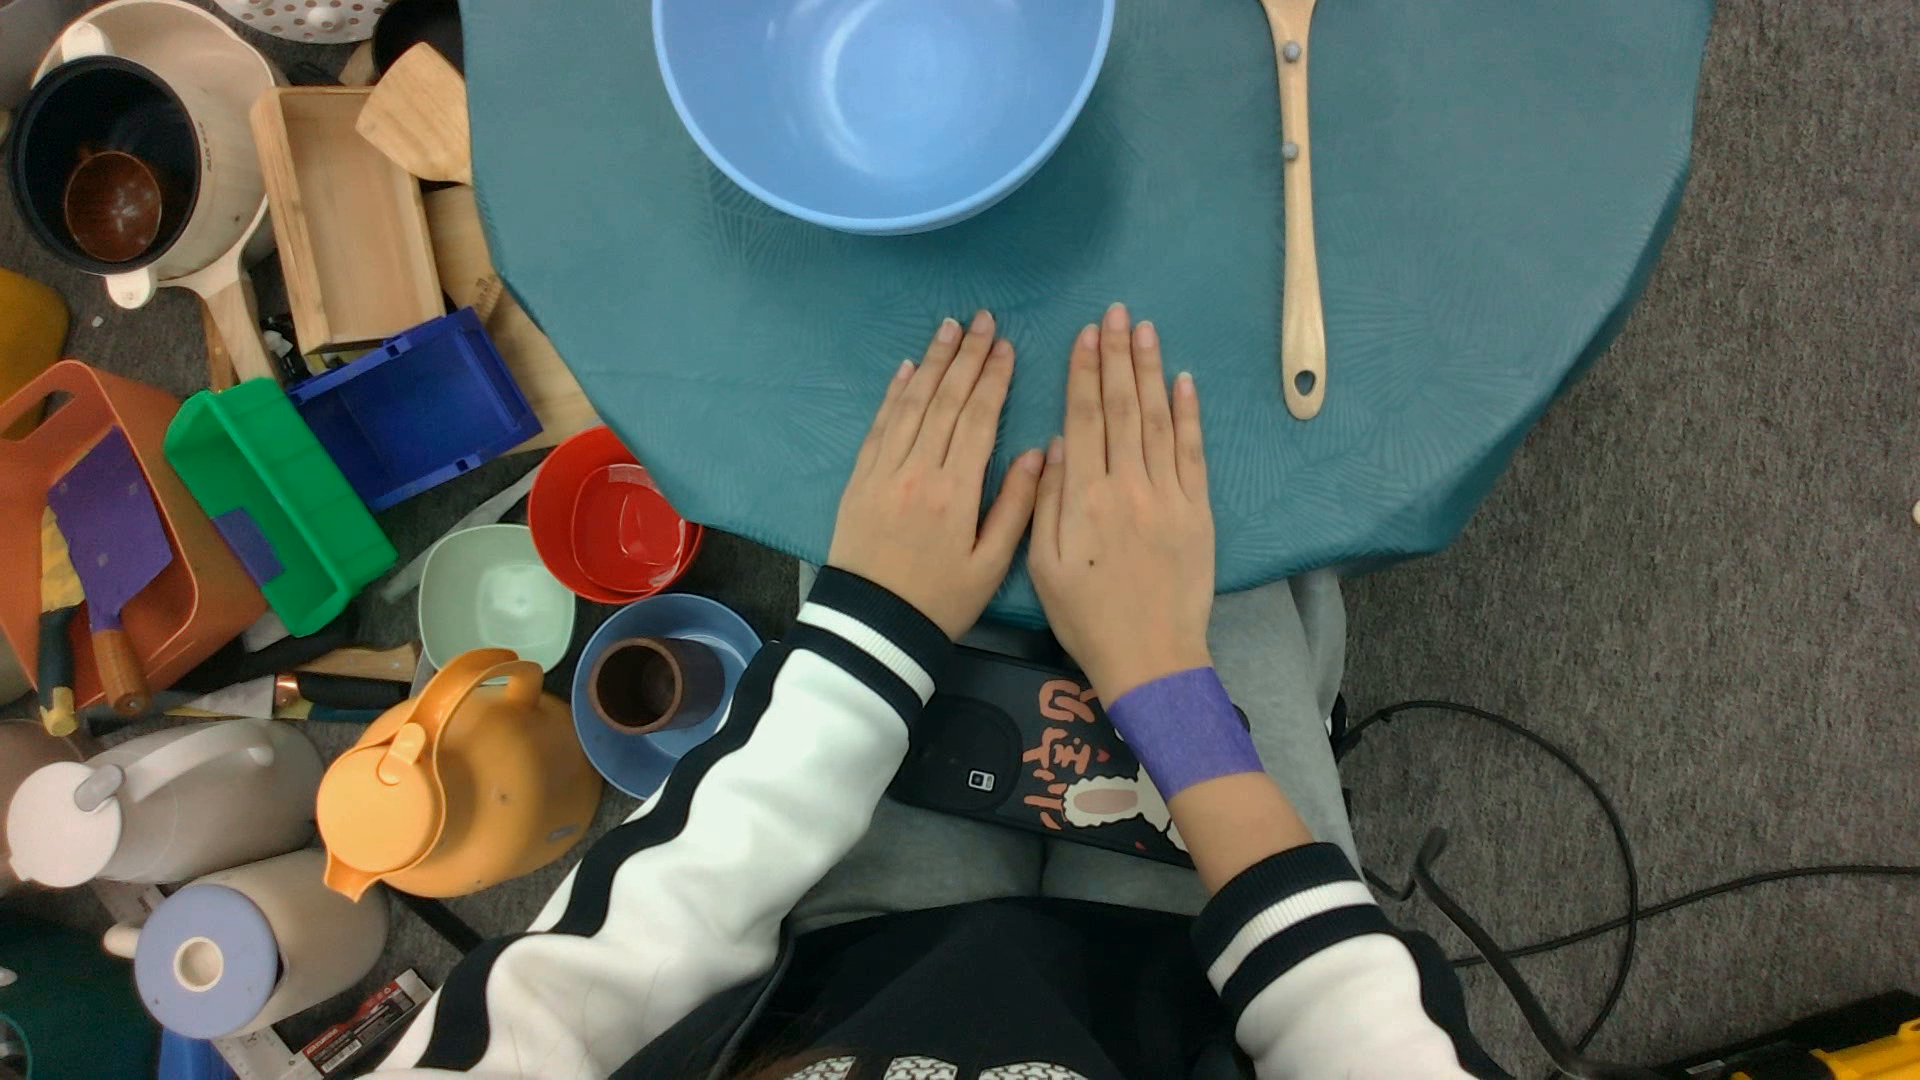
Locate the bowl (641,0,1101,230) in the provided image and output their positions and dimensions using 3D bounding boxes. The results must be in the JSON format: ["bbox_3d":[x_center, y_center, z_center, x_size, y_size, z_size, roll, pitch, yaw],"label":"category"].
[{"bbox_3d":[-0.035,-0.228,0.628,0.196,0.095,0.196,0,86,4],"label":"bowl"}]

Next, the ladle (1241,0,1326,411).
[{"bbox_3d":[0.152,-0.189,0.616,0.072,0.073,0.254,-4,86,1],"label":"ladle"}]
